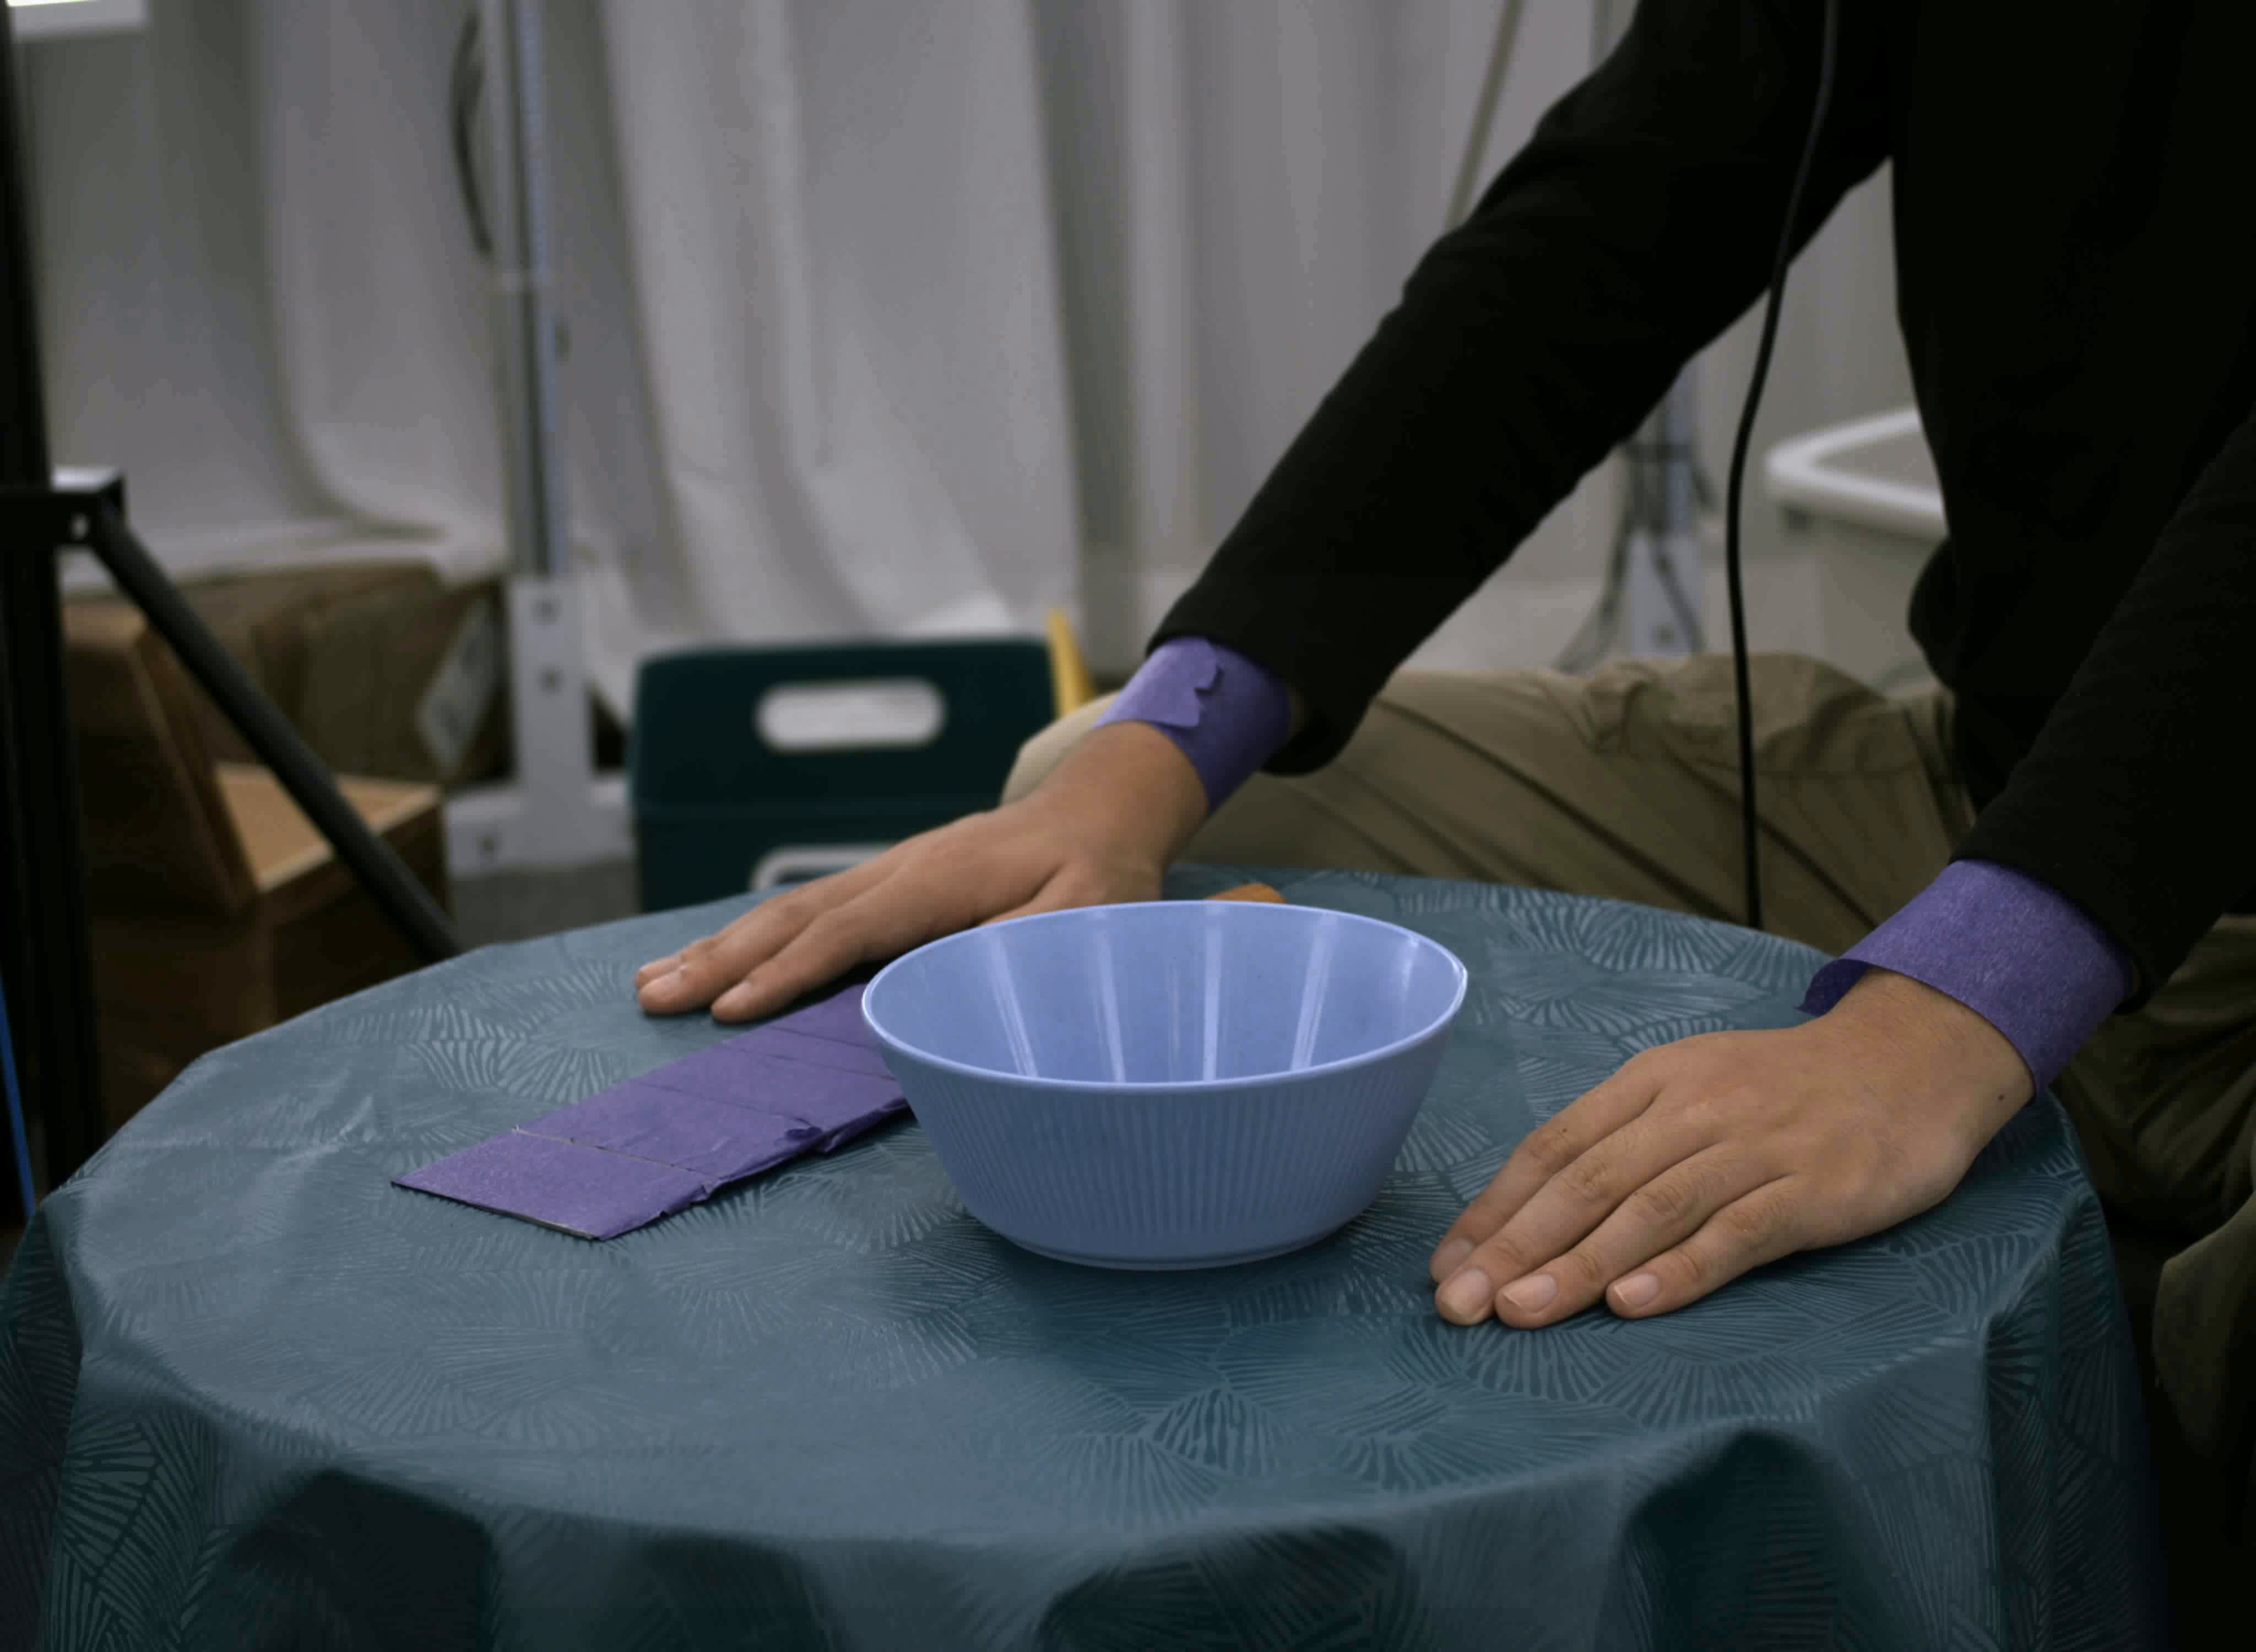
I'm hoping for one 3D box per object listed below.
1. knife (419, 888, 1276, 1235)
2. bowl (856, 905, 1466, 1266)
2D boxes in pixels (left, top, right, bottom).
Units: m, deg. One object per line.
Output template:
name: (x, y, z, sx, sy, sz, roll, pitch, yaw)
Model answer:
knife: (-0.083, 0.067, 1.664, 0.106, 0.032, 0.308, 12, 22, 41)
bowl: (0.010, 0.077, 1.532, 0.175, 0.070, 0.177, -2, 16, -1)
